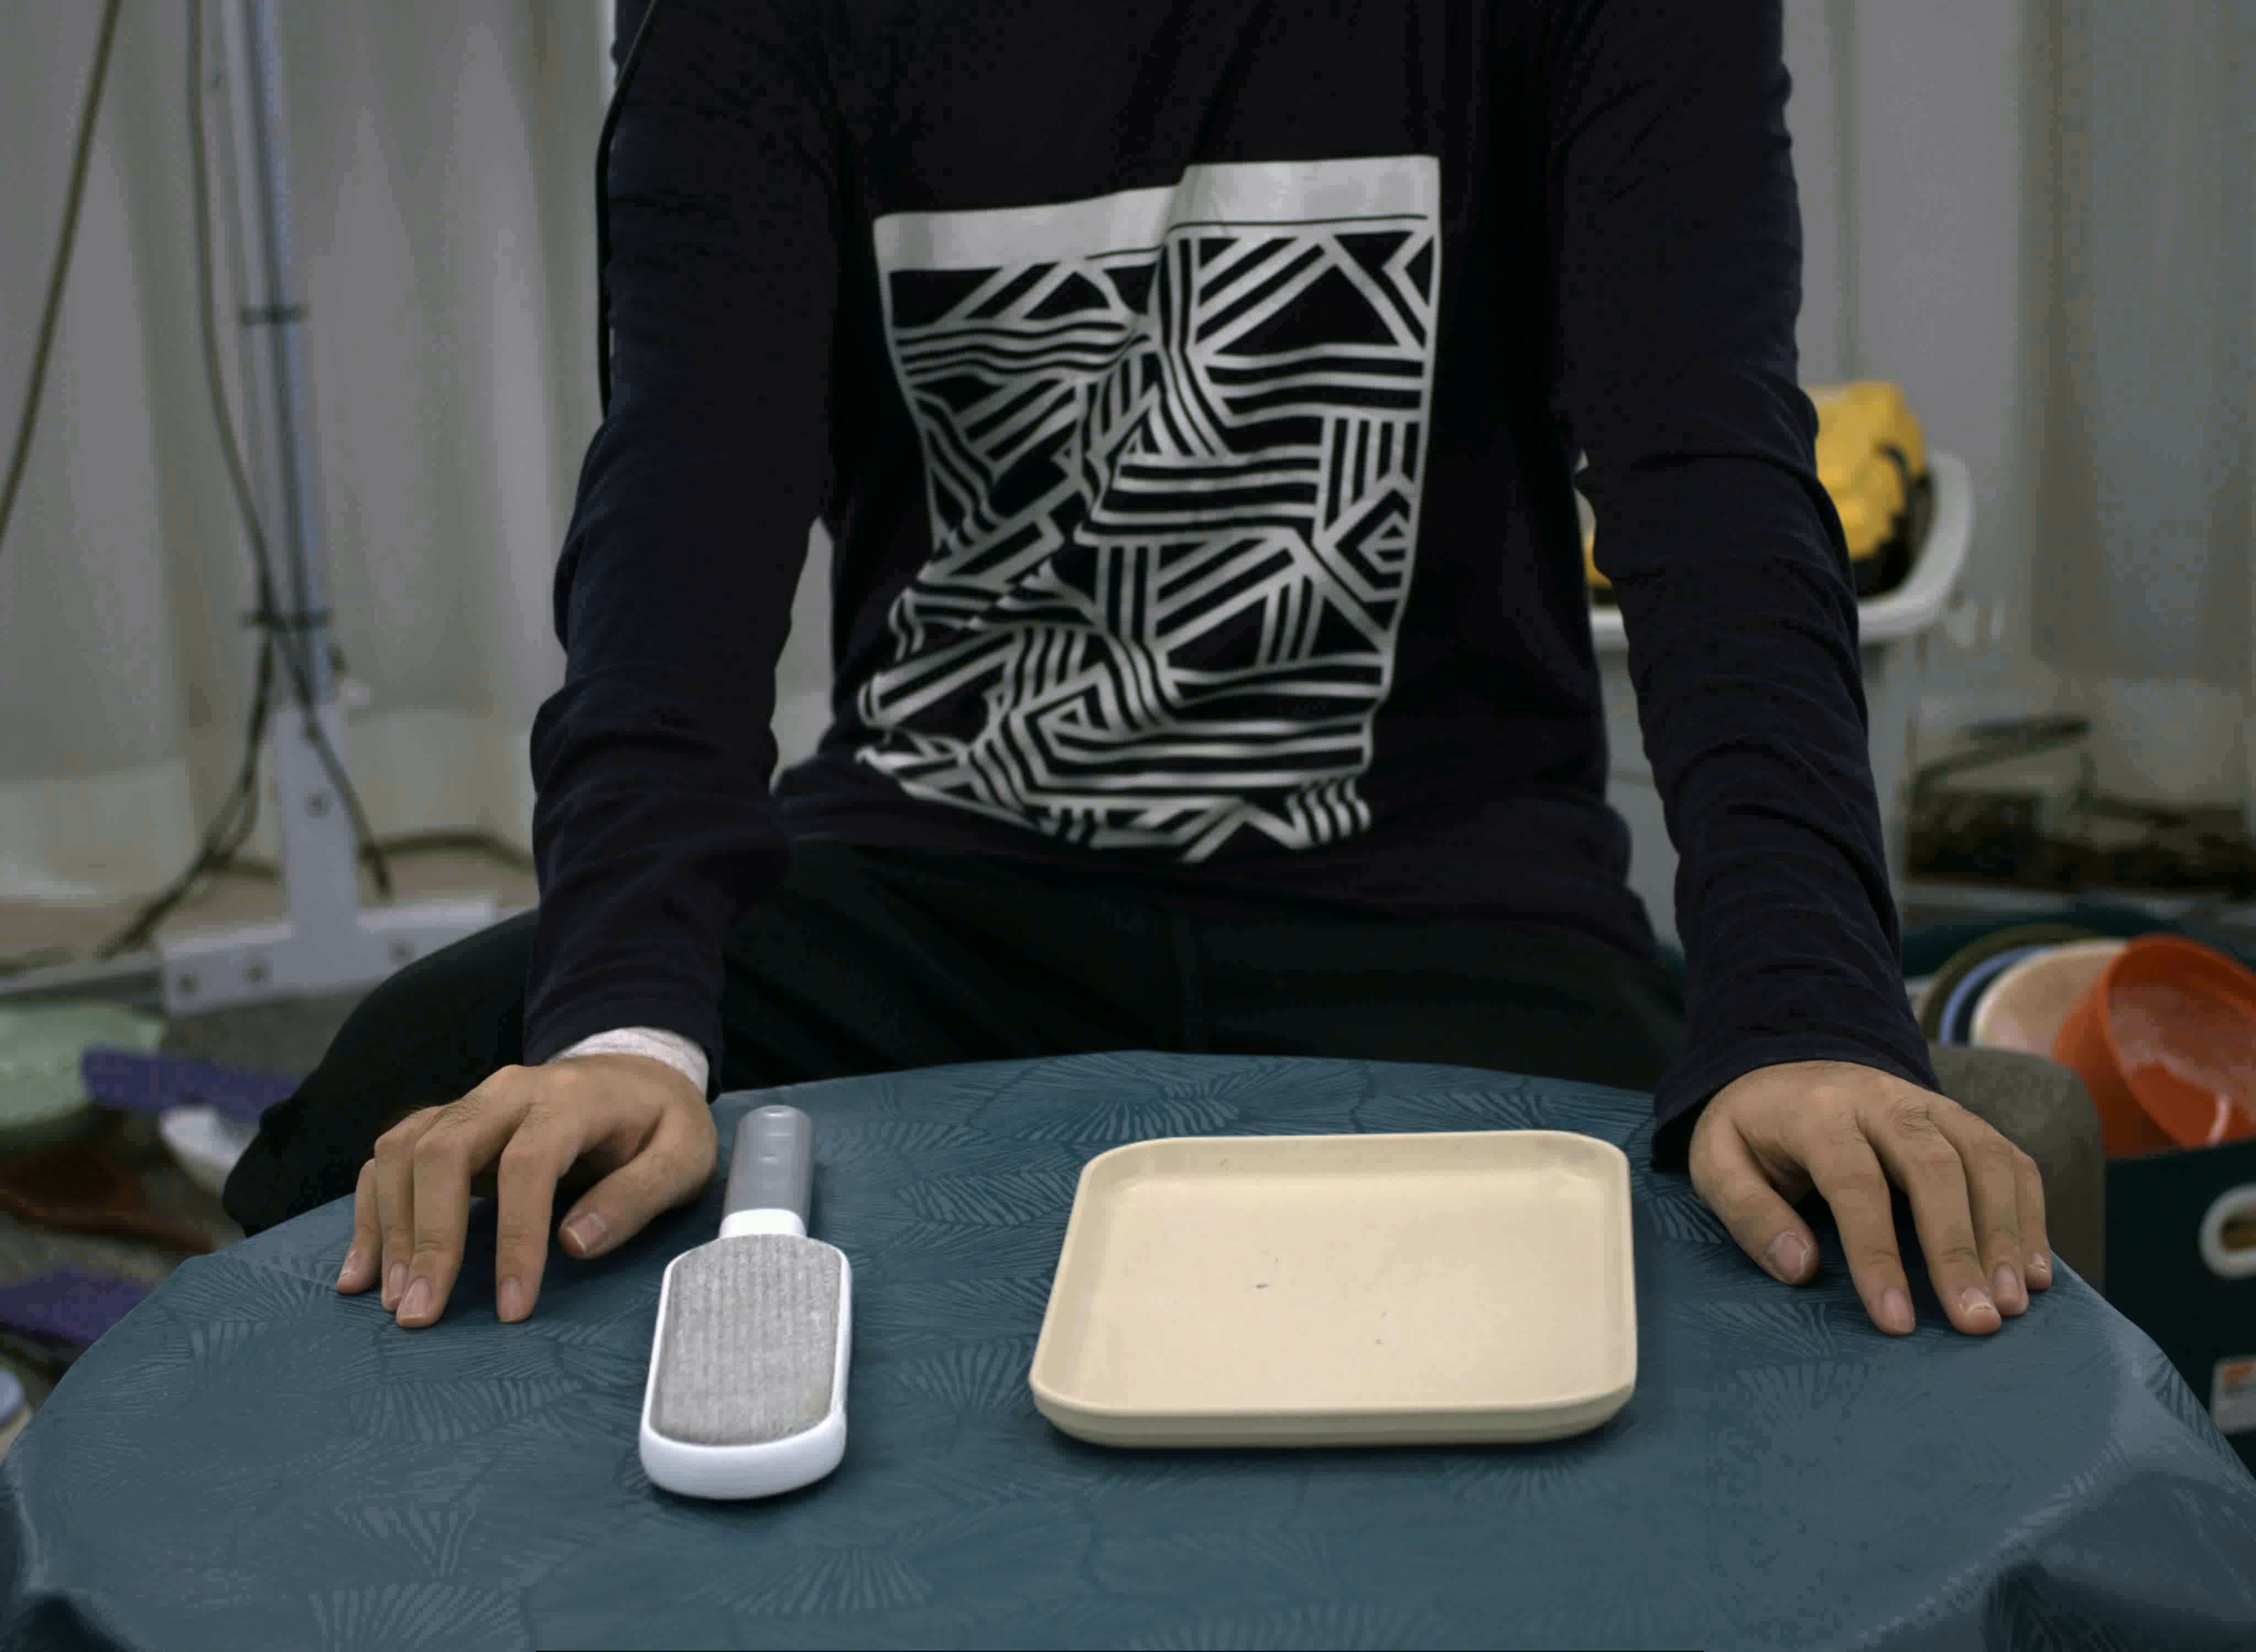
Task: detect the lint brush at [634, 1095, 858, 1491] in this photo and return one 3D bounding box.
[{"bbox_3d":[-0.108,0.133,1.615,0.060,0.021,0.311,-8,15,1],"label":"lint brush"}]

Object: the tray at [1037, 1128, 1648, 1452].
[{"bbox_3d":[0.064,0.134,1.597,0.171,0.017,0.241,-2,15,5],"label":"tray"}]
